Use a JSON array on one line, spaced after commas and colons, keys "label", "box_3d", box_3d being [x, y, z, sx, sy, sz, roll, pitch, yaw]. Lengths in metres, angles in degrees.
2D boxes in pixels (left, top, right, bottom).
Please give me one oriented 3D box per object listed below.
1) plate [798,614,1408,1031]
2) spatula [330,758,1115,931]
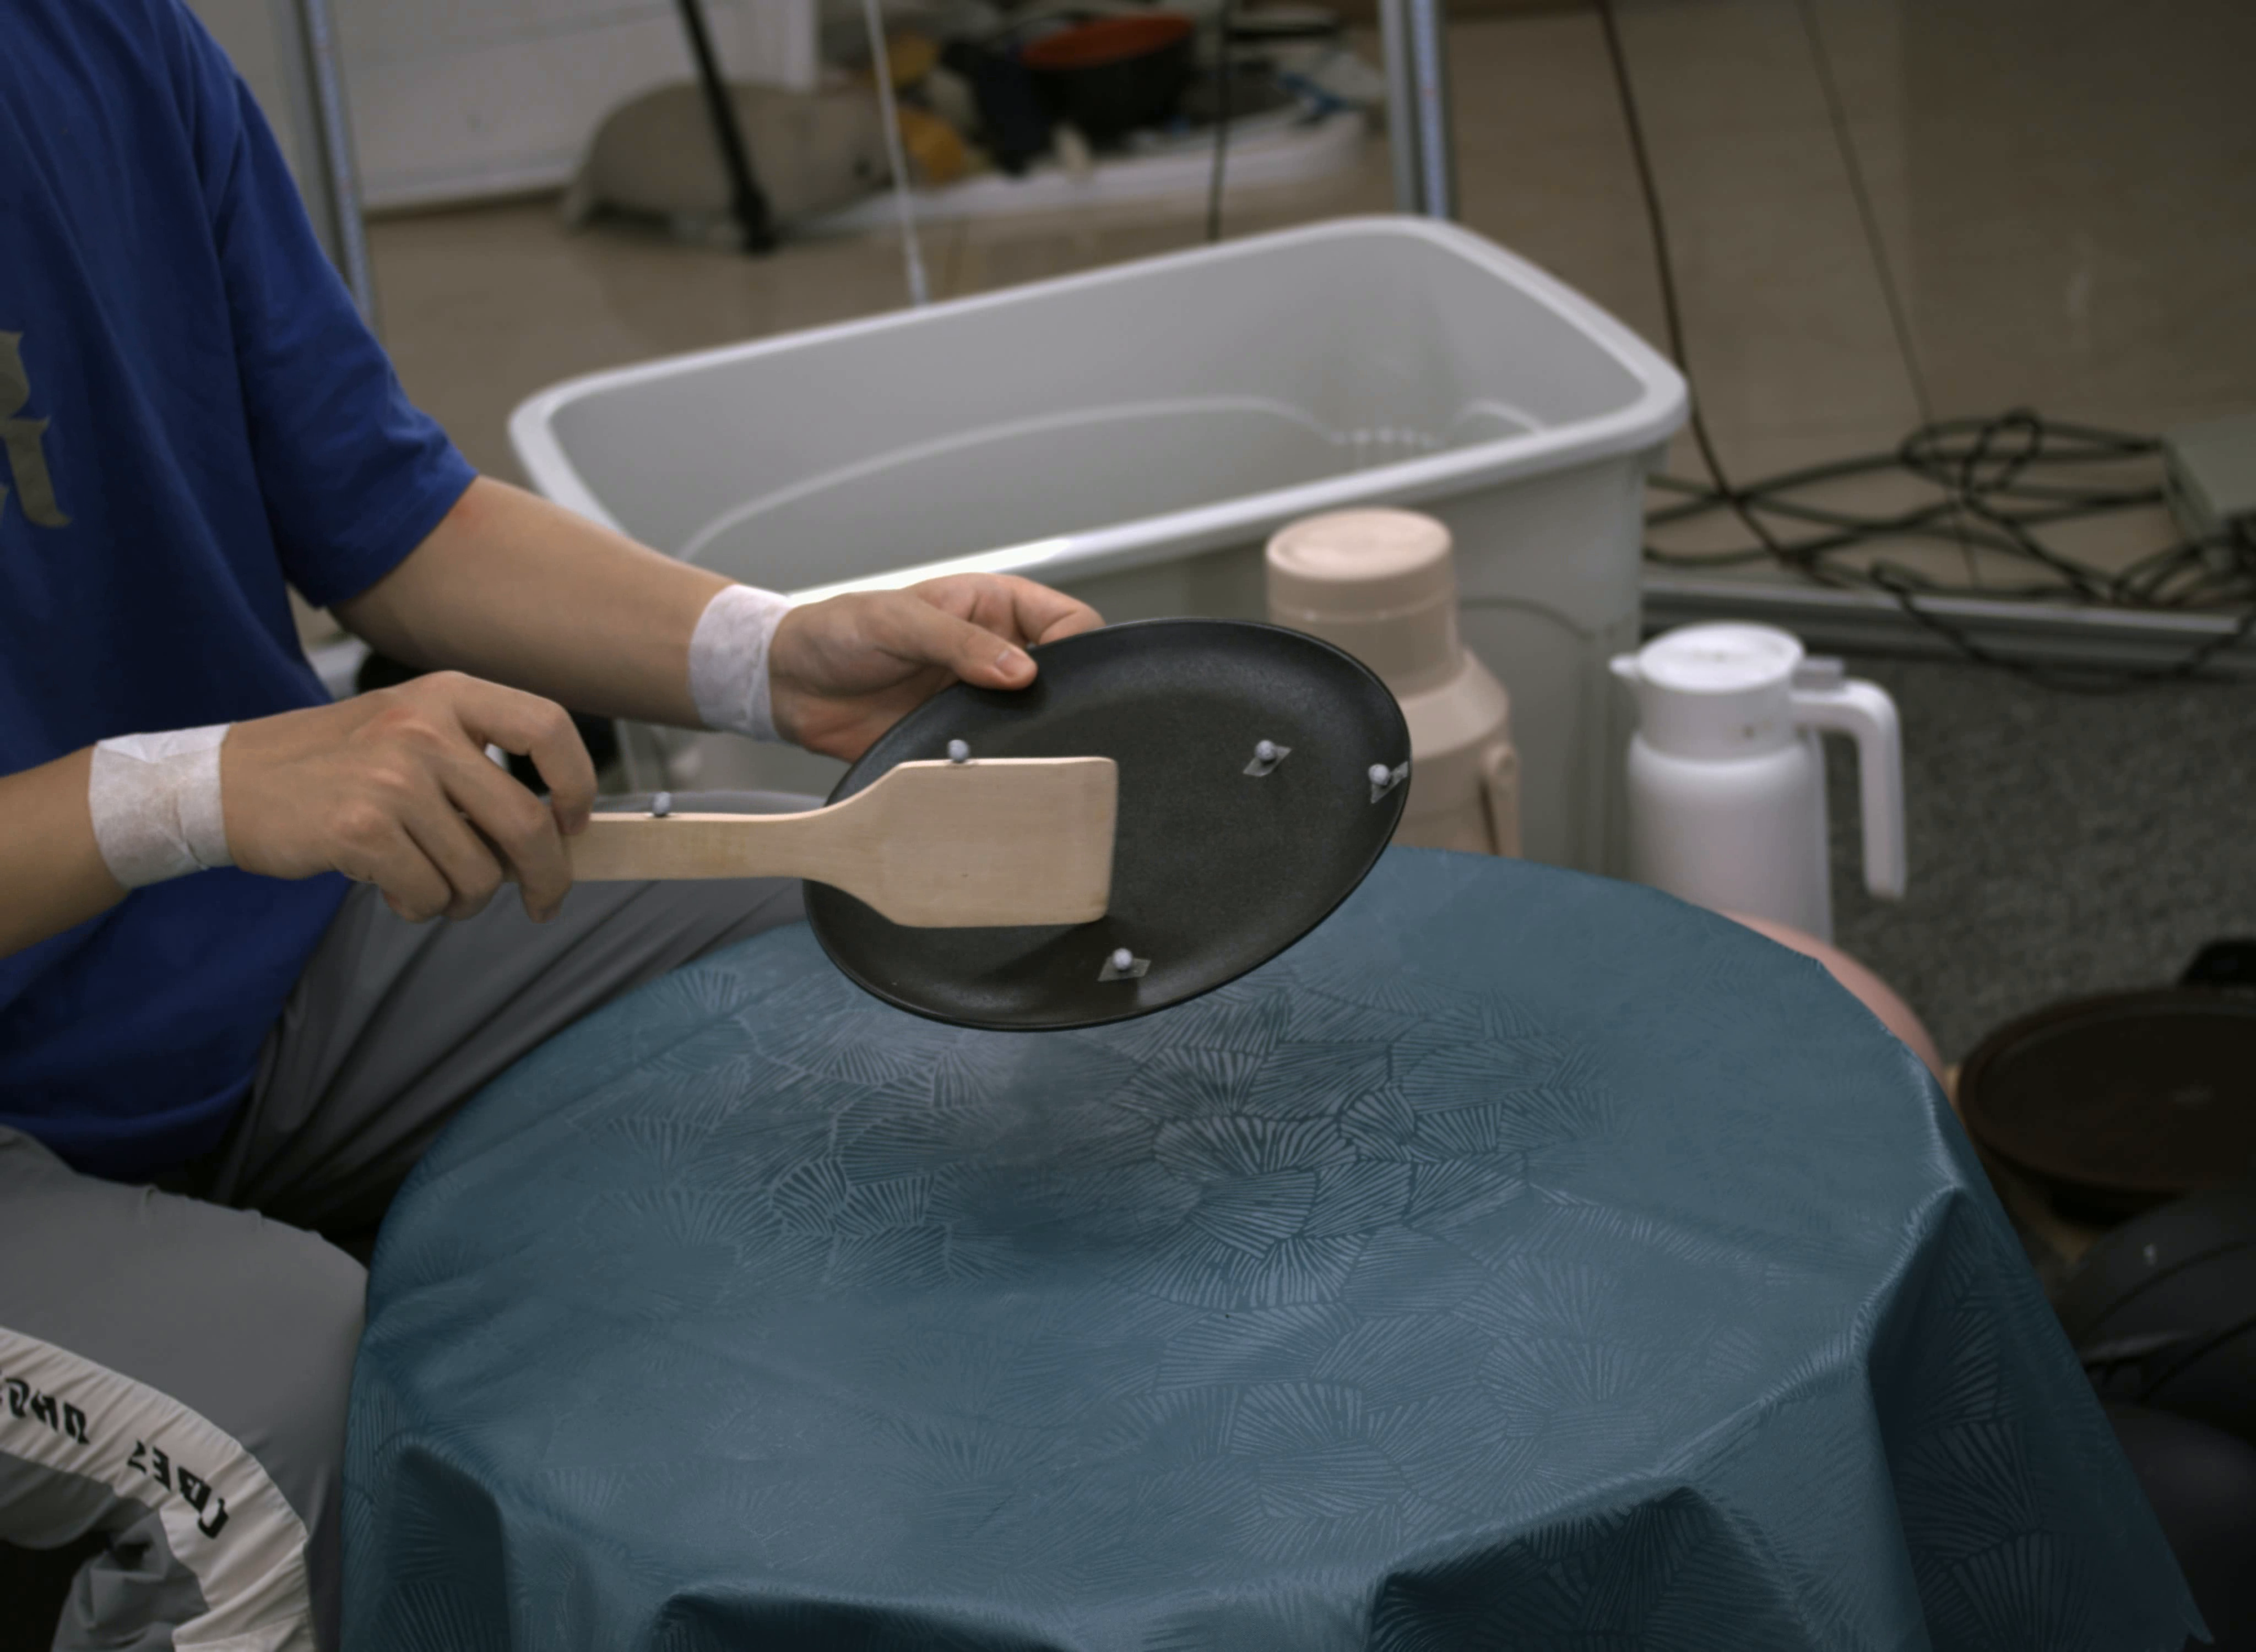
[{"label": "plate", "box_3d": [-0.009, 0.002, 2.184, 0.244, 0.024, 0.240, -11, 39, 9]}, {"label": "spatula", "box_3d": [-0.150, 0.007, 2.107, 0.292, 0.073, 0.010, 0, 30, -9]}]
